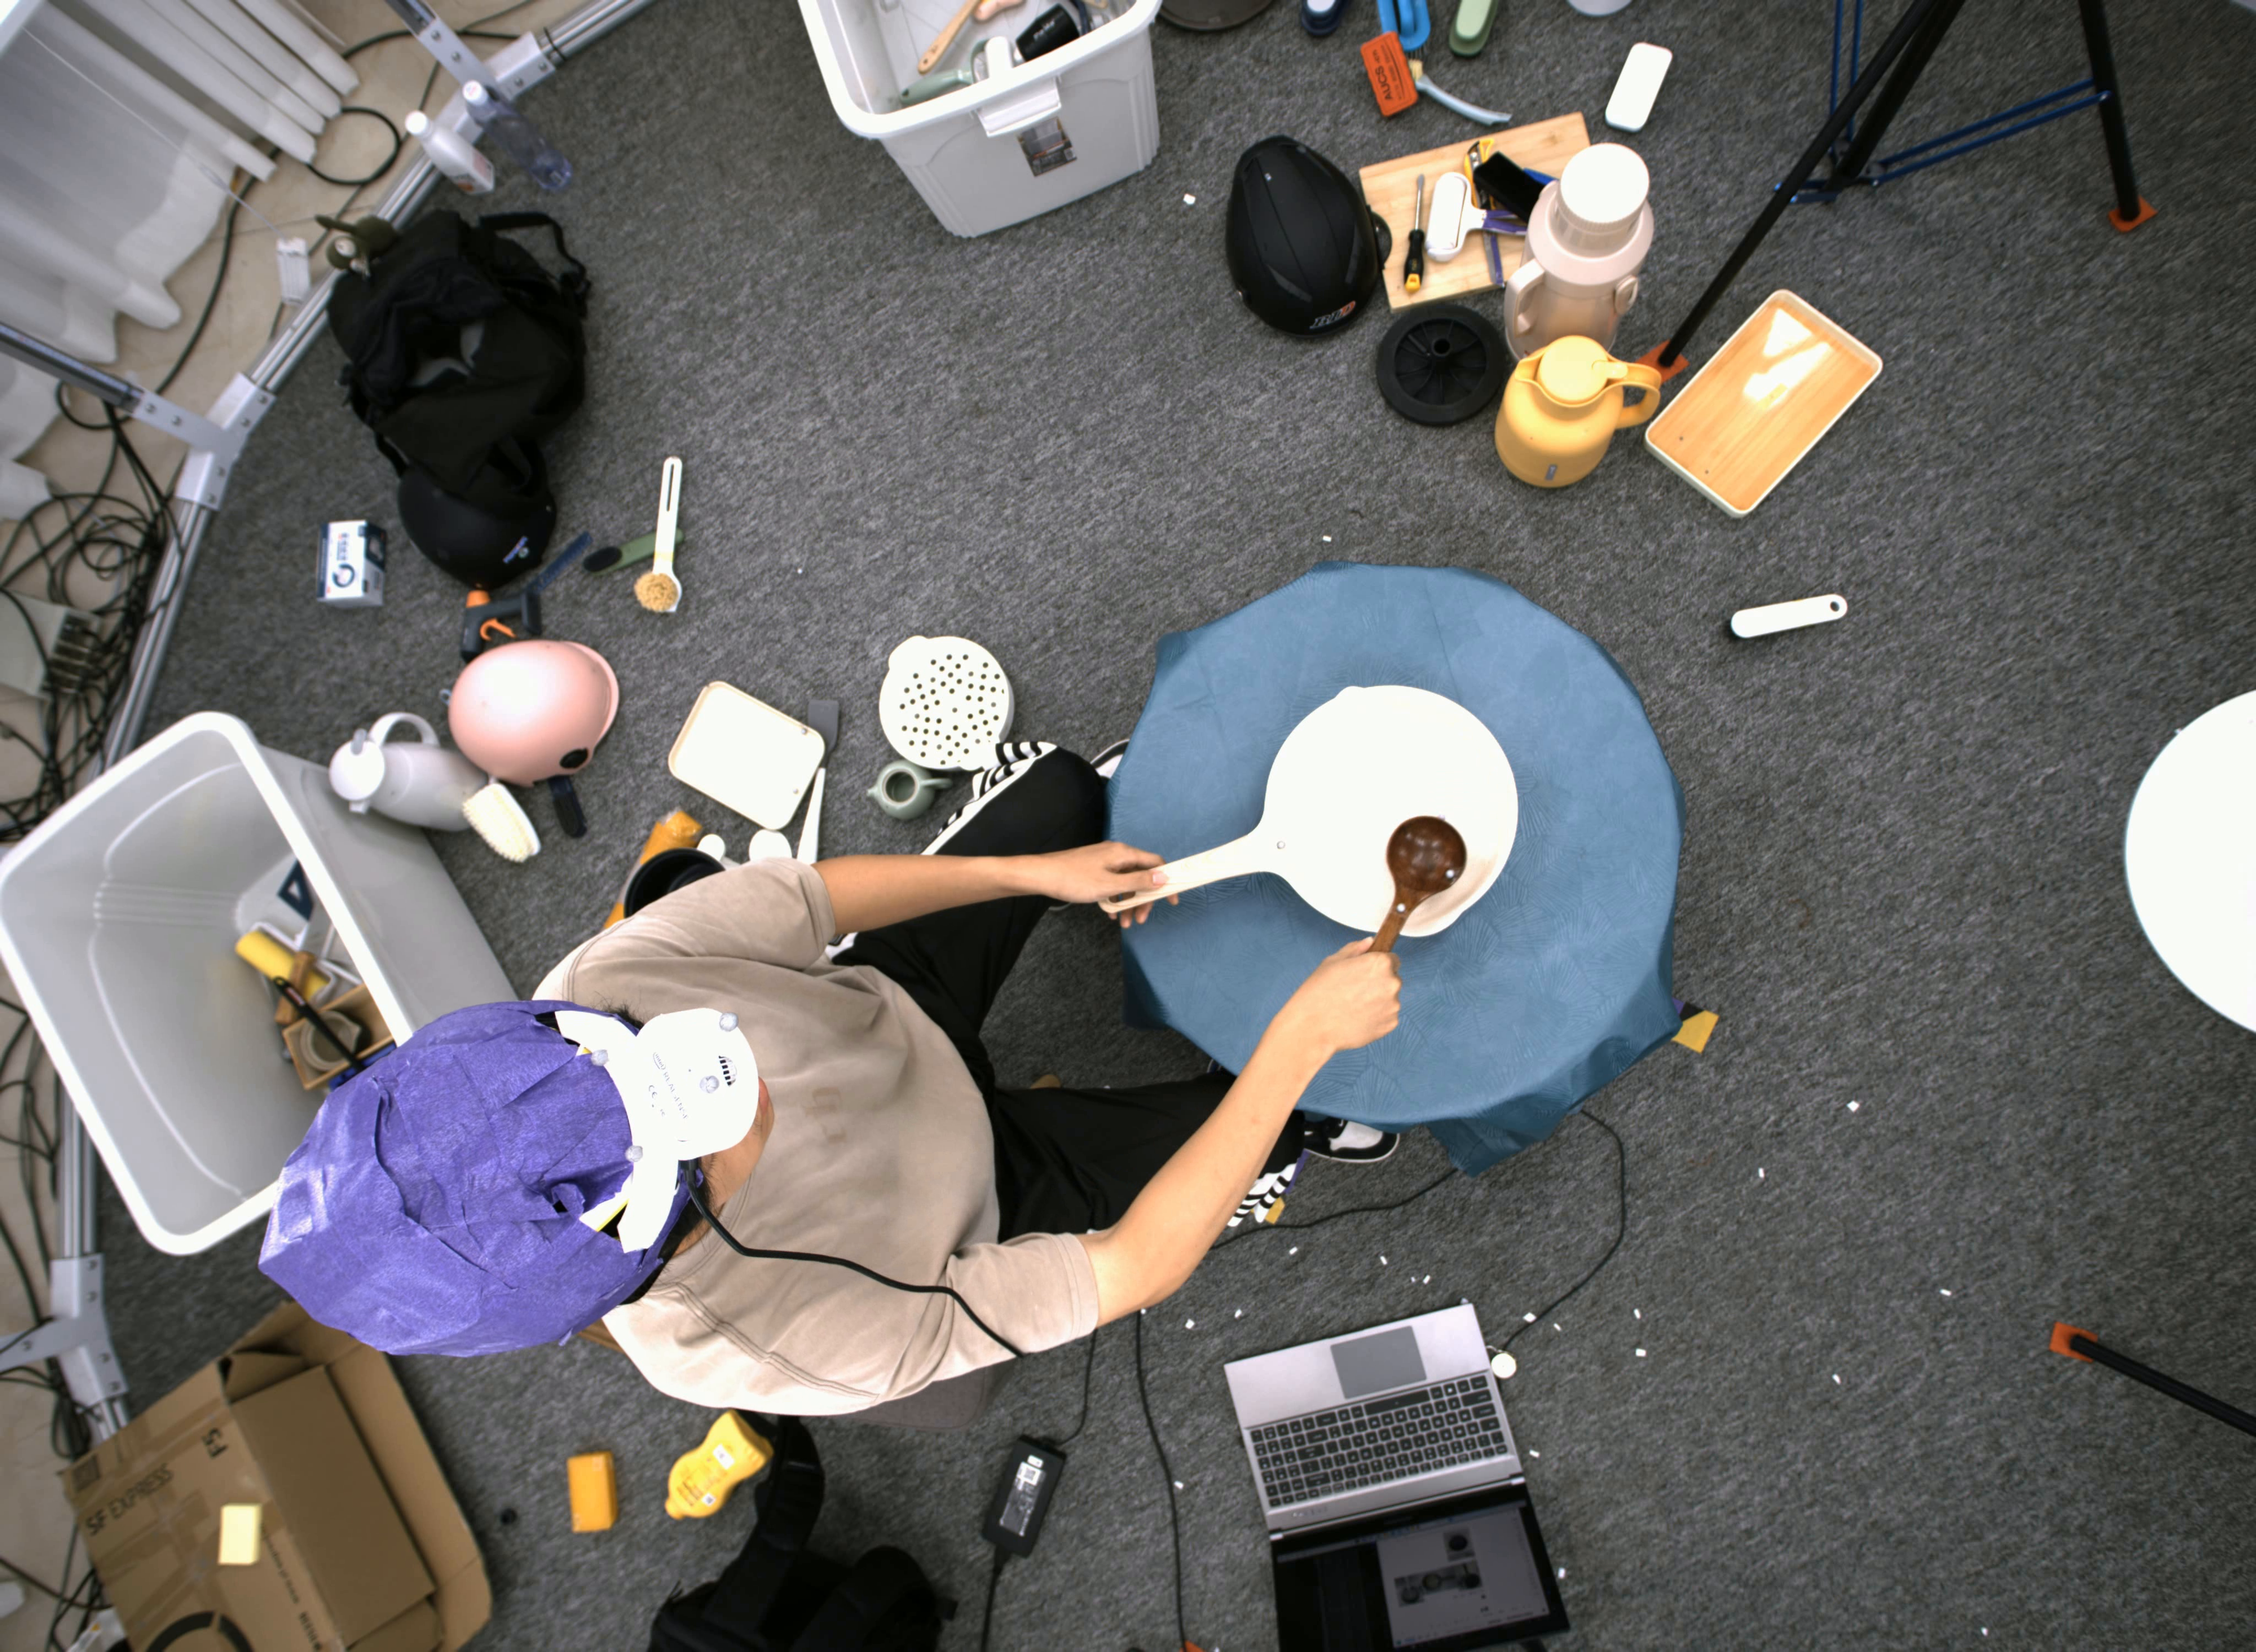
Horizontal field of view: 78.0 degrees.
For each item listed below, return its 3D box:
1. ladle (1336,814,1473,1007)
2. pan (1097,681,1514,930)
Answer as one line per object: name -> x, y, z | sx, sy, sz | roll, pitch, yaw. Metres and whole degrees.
ladle -> 0.261, 0.071, 1.312 | 0.082, 0.268, 0.078 | 19, 123, 20
pan -> 0.180, 0.010, 1.432 | 0.437, 0.102, 0.262 | -19, 85, 9
